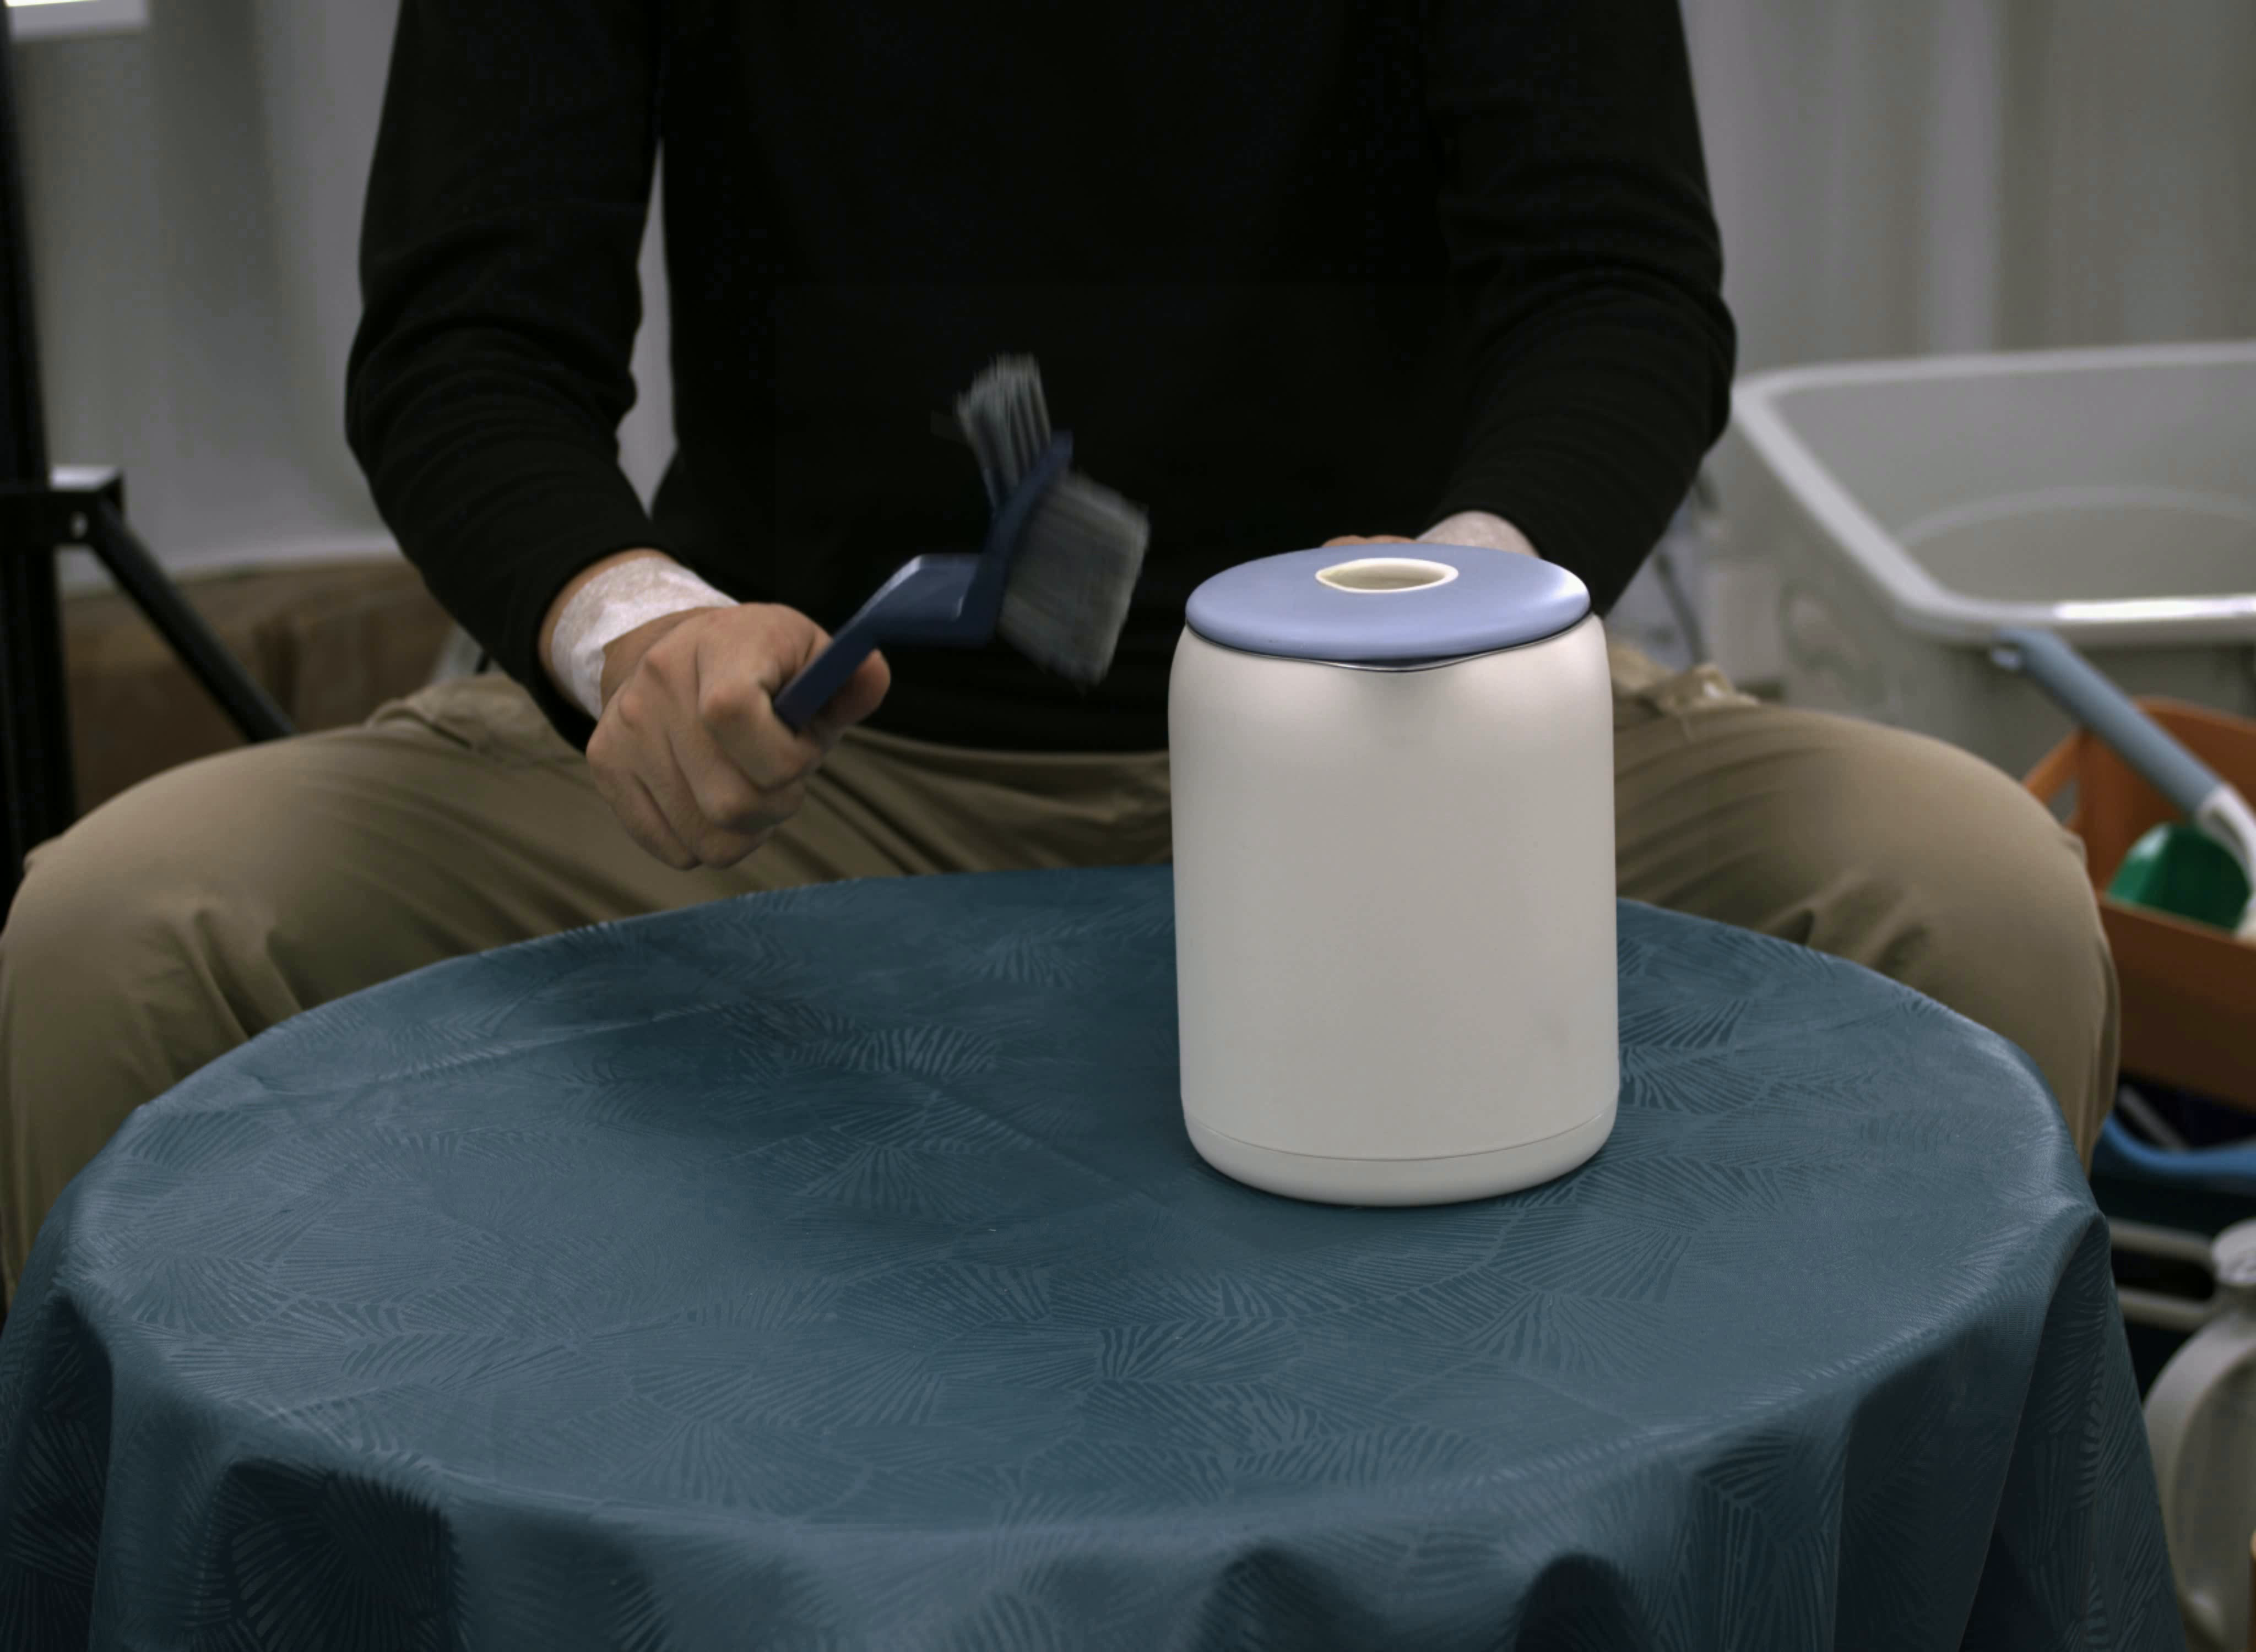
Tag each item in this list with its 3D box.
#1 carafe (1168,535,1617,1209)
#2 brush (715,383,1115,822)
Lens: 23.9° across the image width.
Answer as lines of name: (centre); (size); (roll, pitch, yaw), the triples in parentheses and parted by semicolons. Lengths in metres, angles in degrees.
carafe: (0.077, 0.006, 1.590); (0.131, 0.182, 0.192); (-2, 14, -2)
brush: (-0.079, -0.061, 1.595); (0.033, 0.094, 0.277); (-55, 16, -28)
